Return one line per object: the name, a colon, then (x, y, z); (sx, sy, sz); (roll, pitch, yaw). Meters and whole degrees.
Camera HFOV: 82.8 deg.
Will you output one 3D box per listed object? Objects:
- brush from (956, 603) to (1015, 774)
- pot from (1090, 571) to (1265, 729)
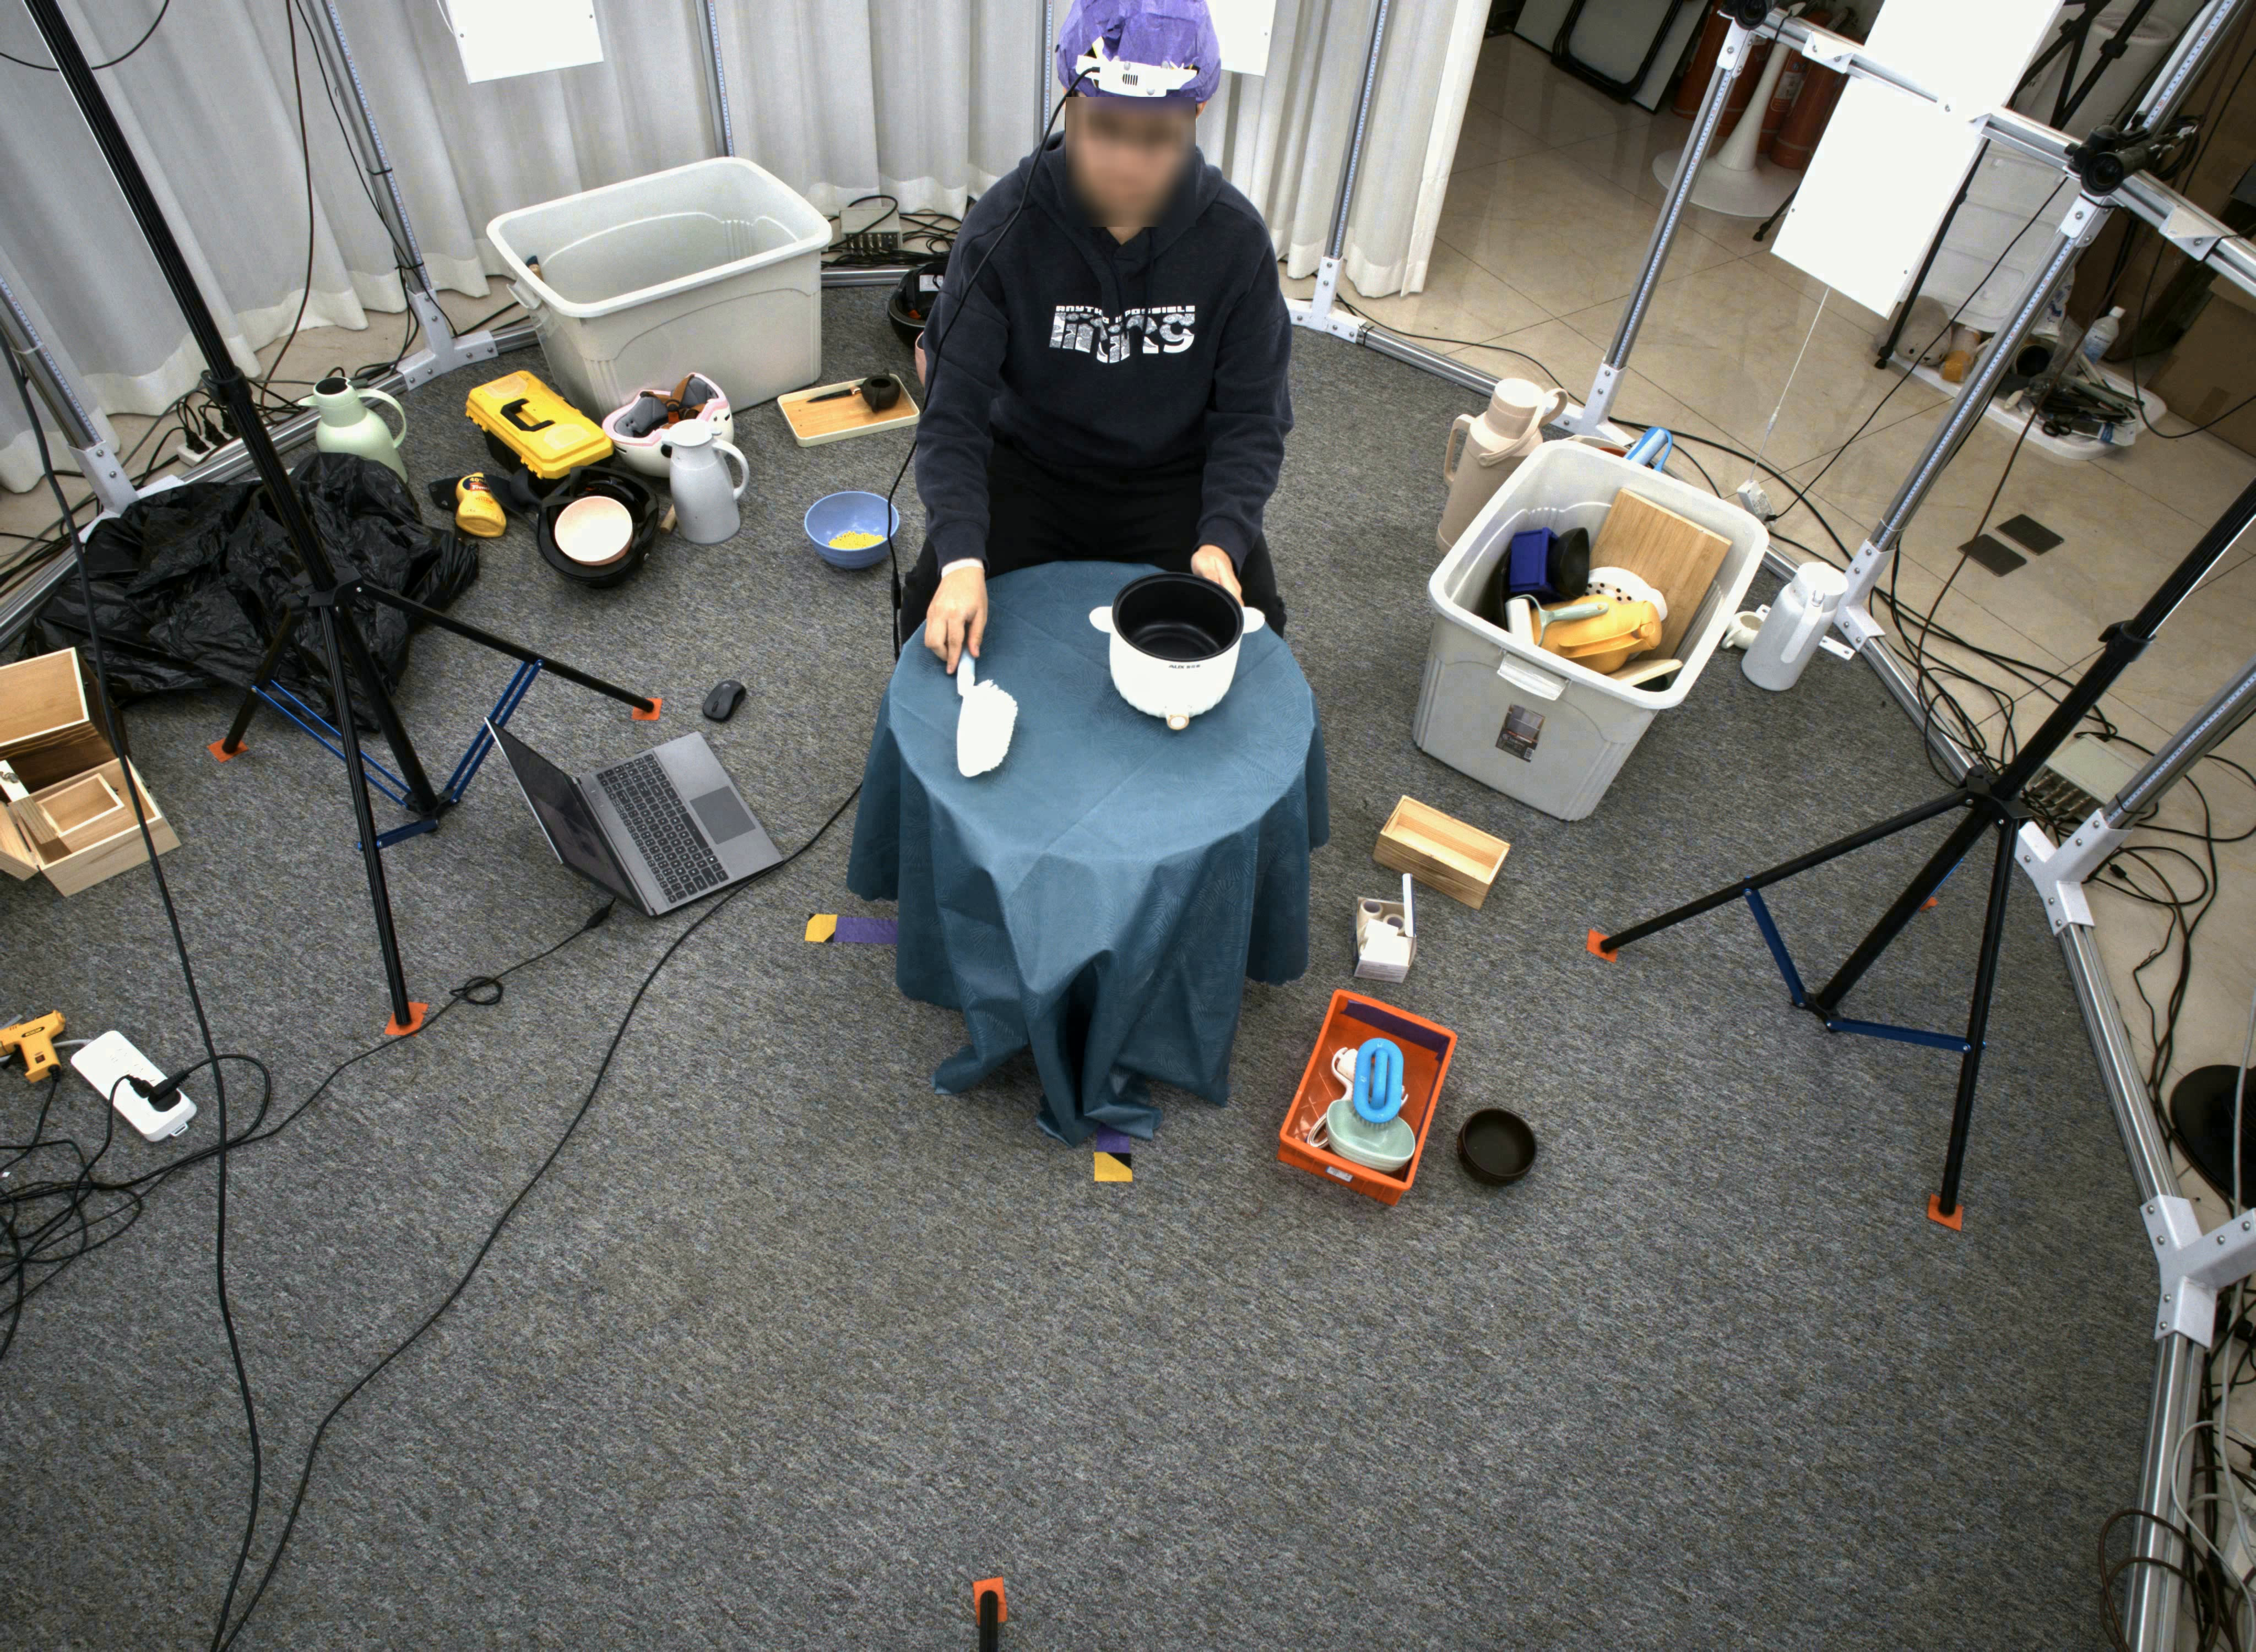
brush: (-0.199, -0.211, 1.779); (0.084, 0.081, 0.333); (-3, 51, -1)
pot: (0.066, -0.242, 1.791); (0.240, 0.139, 0.195); (-2, 46, -5)
